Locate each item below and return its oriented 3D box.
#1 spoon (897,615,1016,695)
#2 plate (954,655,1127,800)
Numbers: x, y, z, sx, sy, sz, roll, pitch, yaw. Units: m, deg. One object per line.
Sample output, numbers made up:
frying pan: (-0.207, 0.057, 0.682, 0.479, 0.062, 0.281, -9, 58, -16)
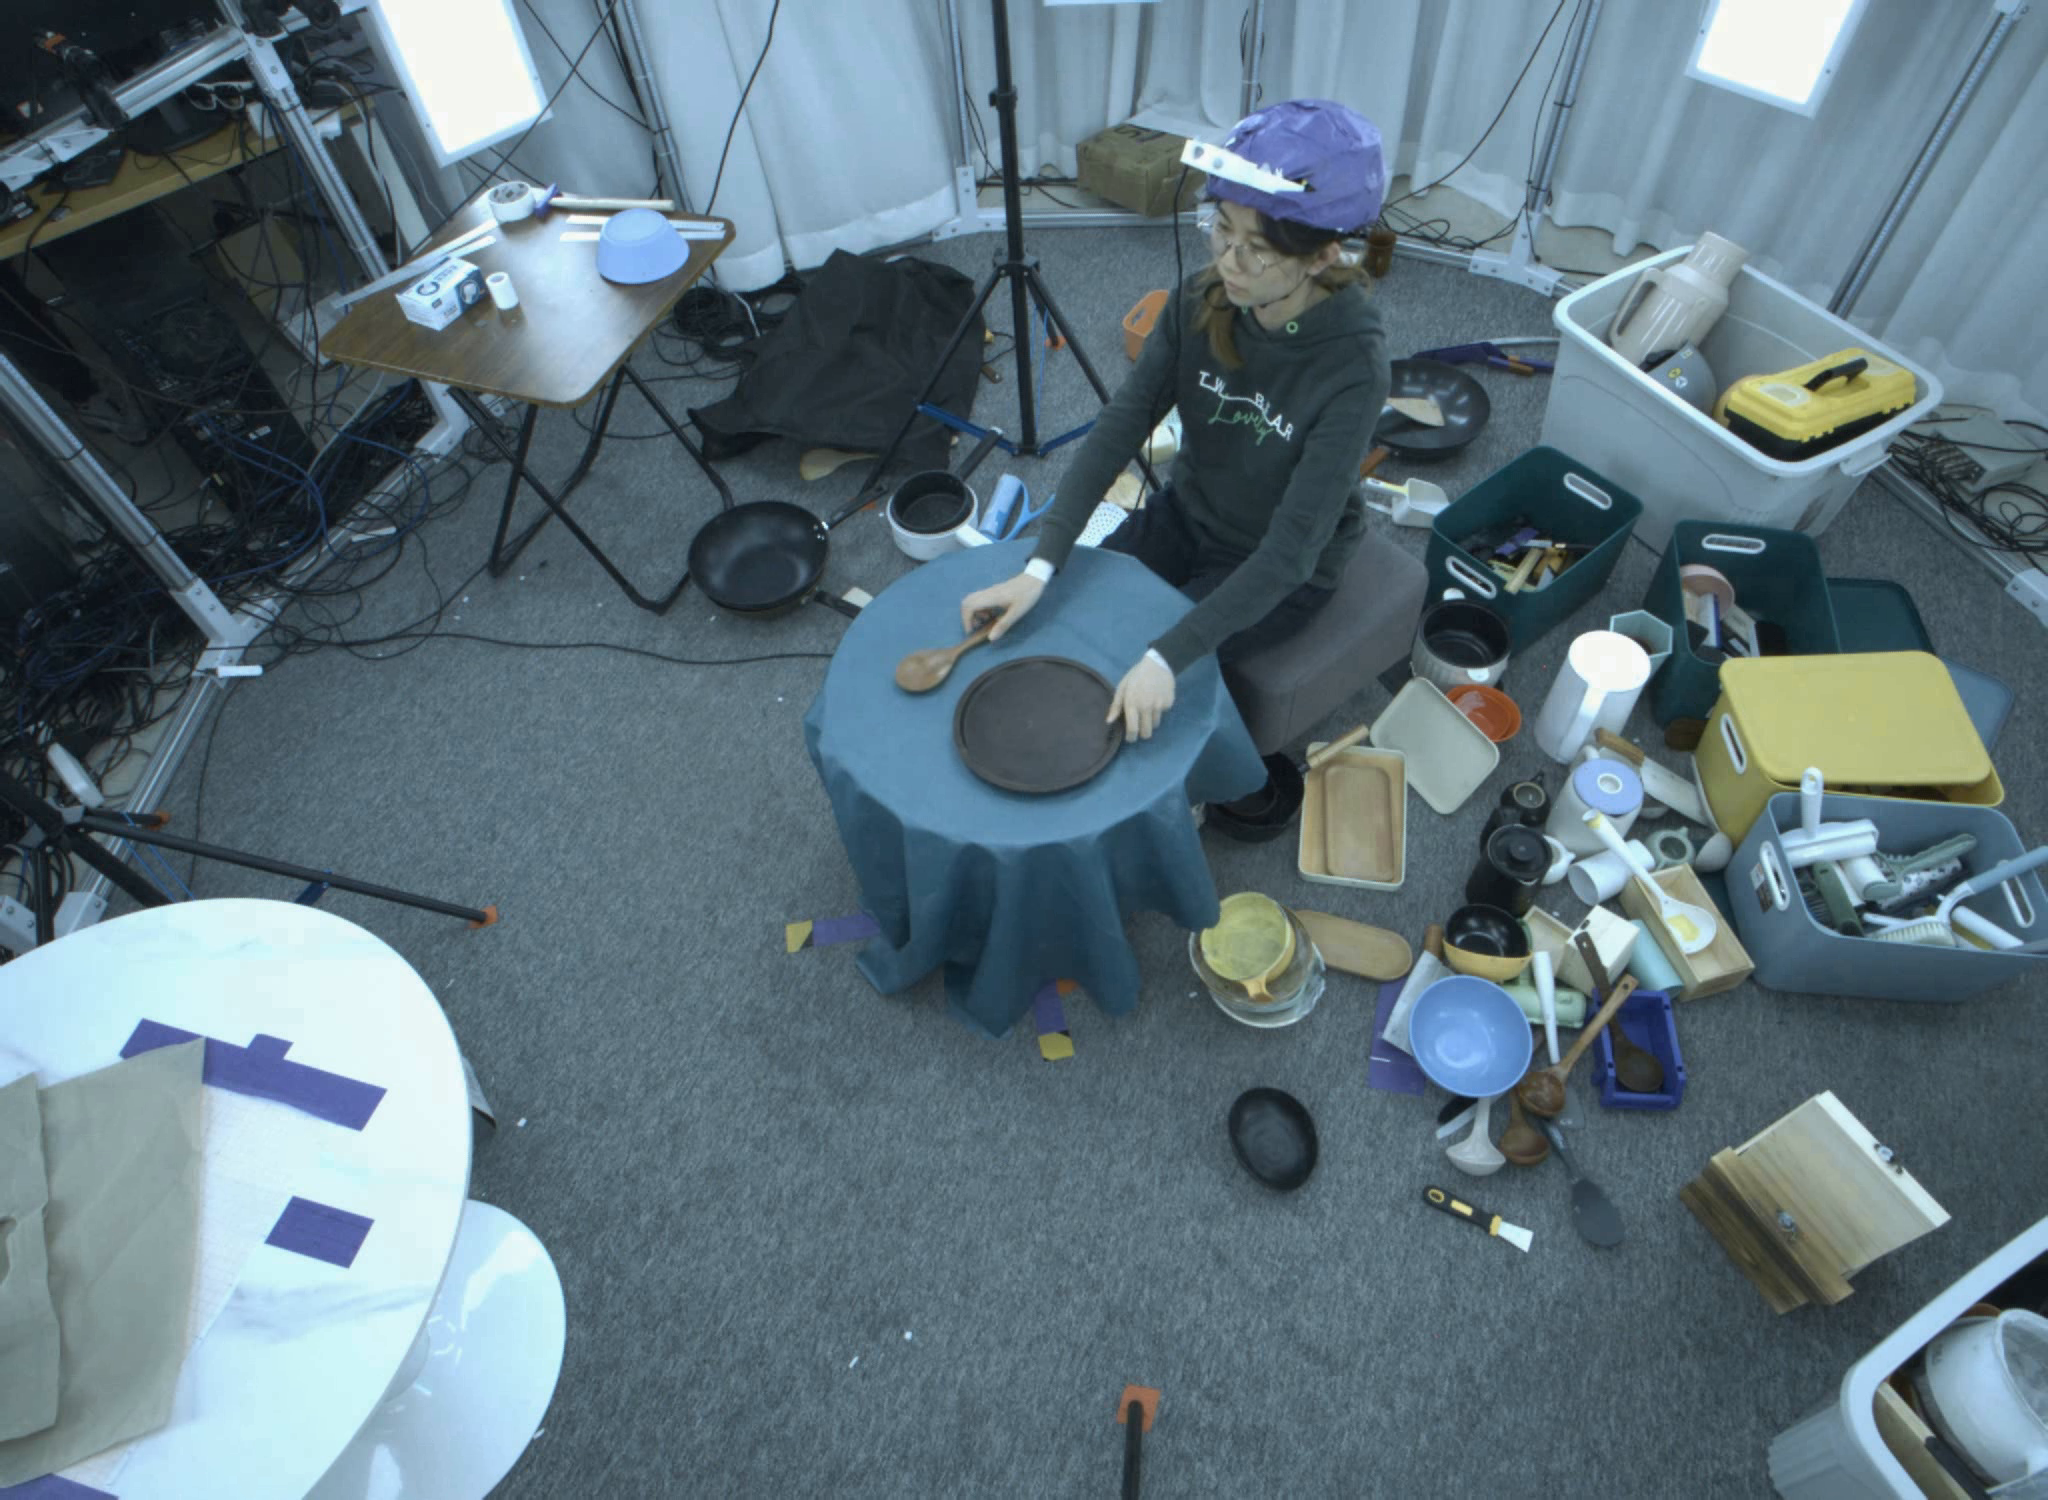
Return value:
spoon: (-0.101, -0.148, 1.894, 0.217, 0.017, 0.074, -34, 61, -20)
plate: (0.024, -0.032, 1.806, 0.254, 0.029, 0.252, 0, 56, 2)
